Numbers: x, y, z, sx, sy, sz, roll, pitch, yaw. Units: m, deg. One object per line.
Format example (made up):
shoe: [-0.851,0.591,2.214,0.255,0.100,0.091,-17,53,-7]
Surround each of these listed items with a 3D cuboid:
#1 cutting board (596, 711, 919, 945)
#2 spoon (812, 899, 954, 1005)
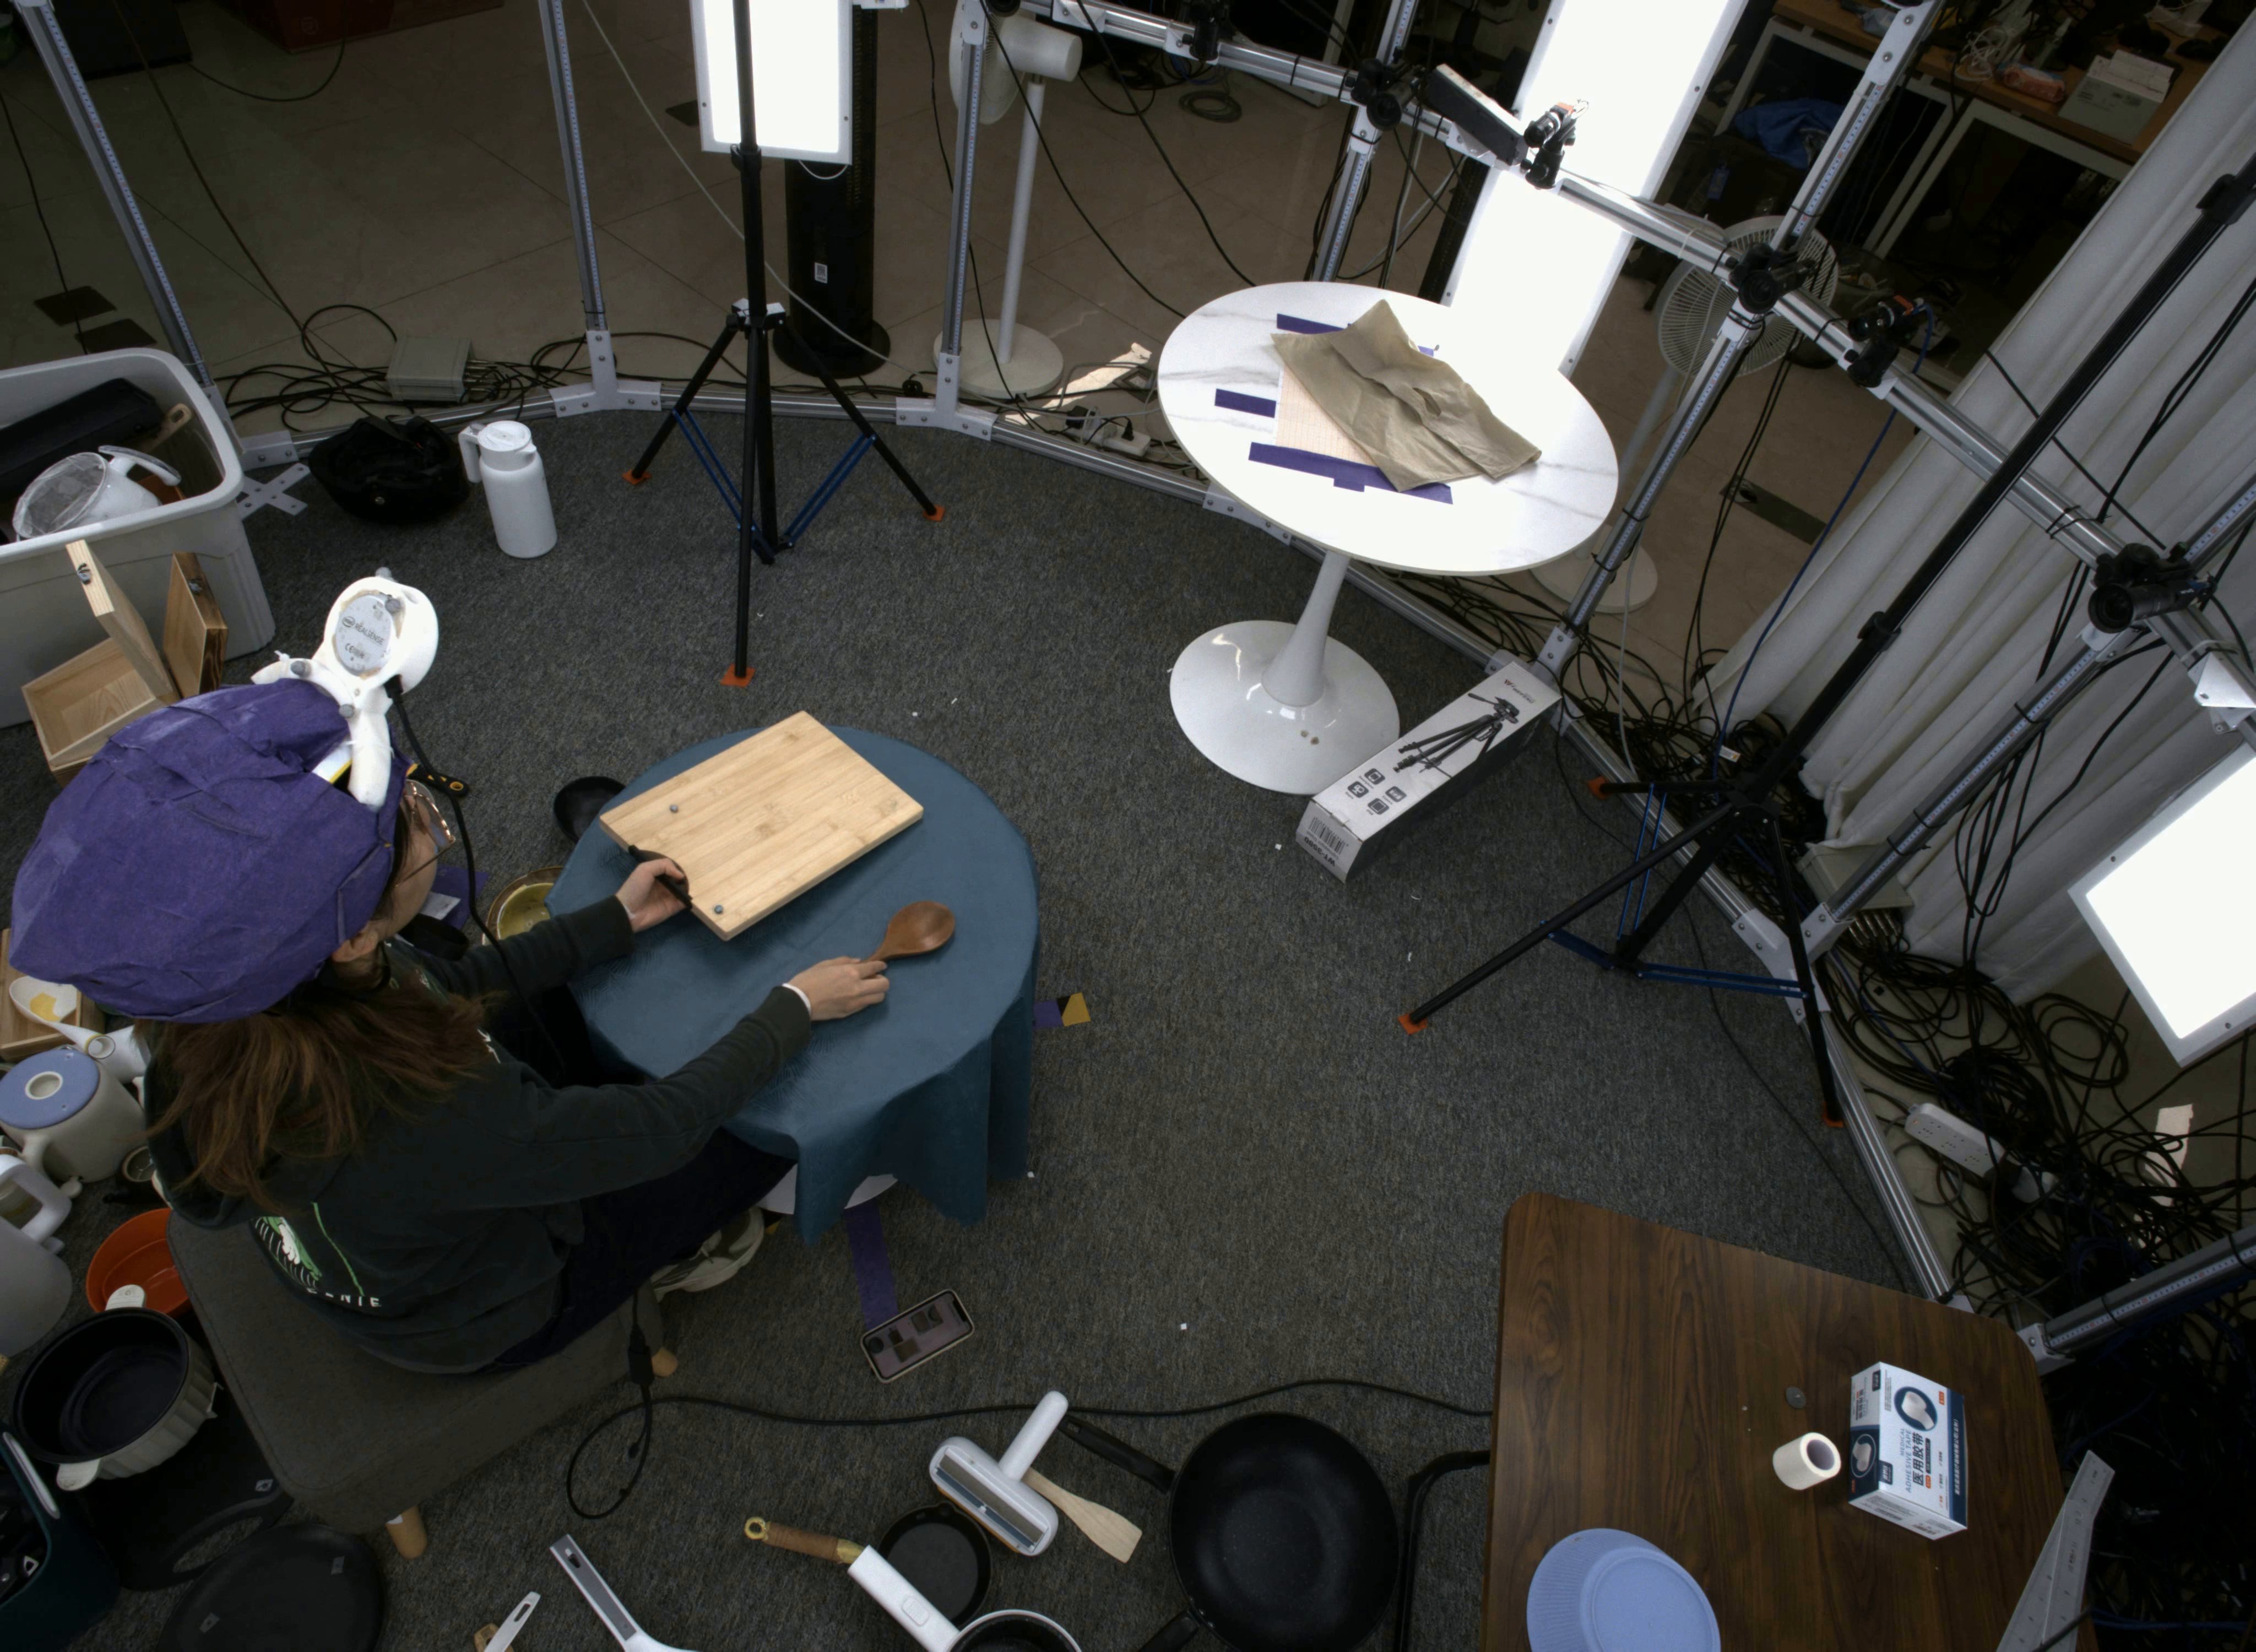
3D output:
cutting board: [-0.474,-0.010,1.680,0.245,0.024,0.349,37,45,15]
spoon: [-0.307,0.157,1.624,0.074,0.017,0.216,43,51,16]
